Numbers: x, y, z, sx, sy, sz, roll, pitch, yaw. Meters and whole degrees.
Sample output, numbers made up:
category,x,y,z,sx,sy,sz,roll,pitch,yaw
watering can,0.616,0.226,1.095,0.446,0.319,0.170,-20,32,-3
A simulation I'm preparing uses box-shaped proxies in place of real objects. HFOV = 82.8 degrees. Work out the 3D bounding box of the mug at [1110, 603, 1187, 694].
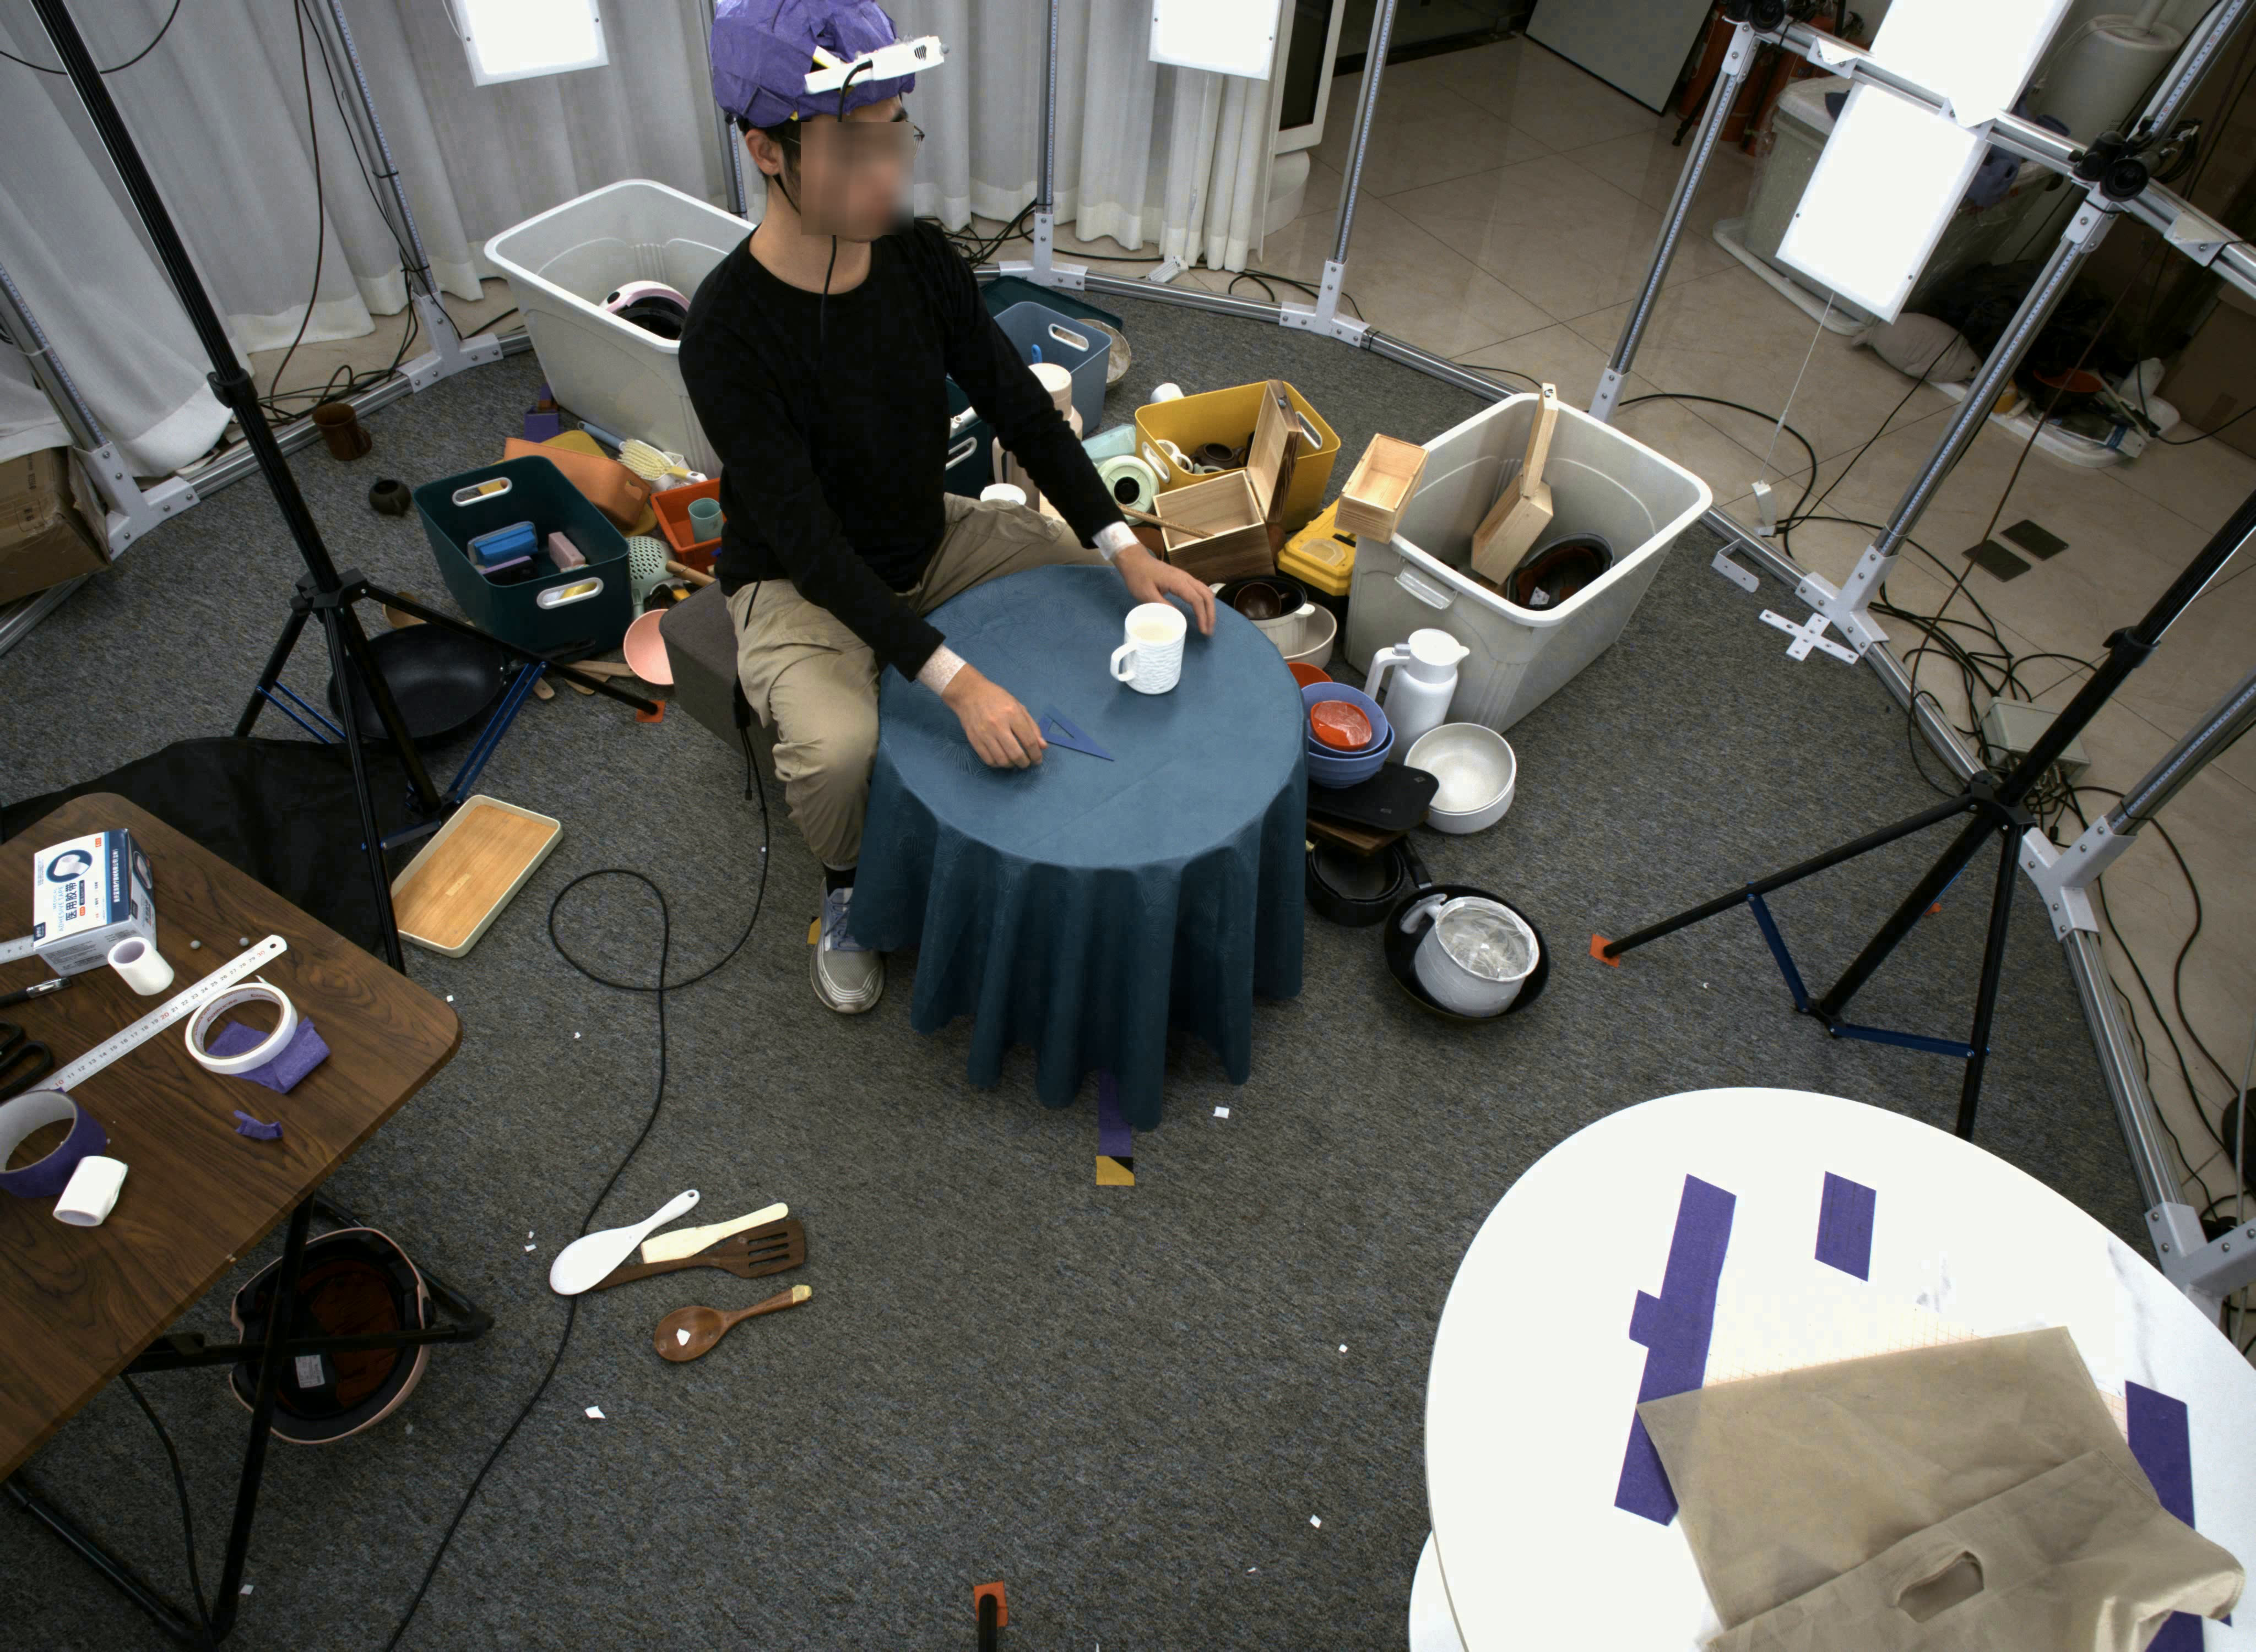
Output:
category,x,y,z,sx,sy,sz,roll,pitch,yaw
mug,0.024,-0.243,1.816,0.119,0.099,0.086,-31,59,-27

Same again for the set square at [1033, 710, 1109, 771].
category,x,y,z,sx,sy,sz,roll,pitch,yaw
set square,-0.085,-0.109,1.757,0.061,0.006,0.134,-28,57,-25
